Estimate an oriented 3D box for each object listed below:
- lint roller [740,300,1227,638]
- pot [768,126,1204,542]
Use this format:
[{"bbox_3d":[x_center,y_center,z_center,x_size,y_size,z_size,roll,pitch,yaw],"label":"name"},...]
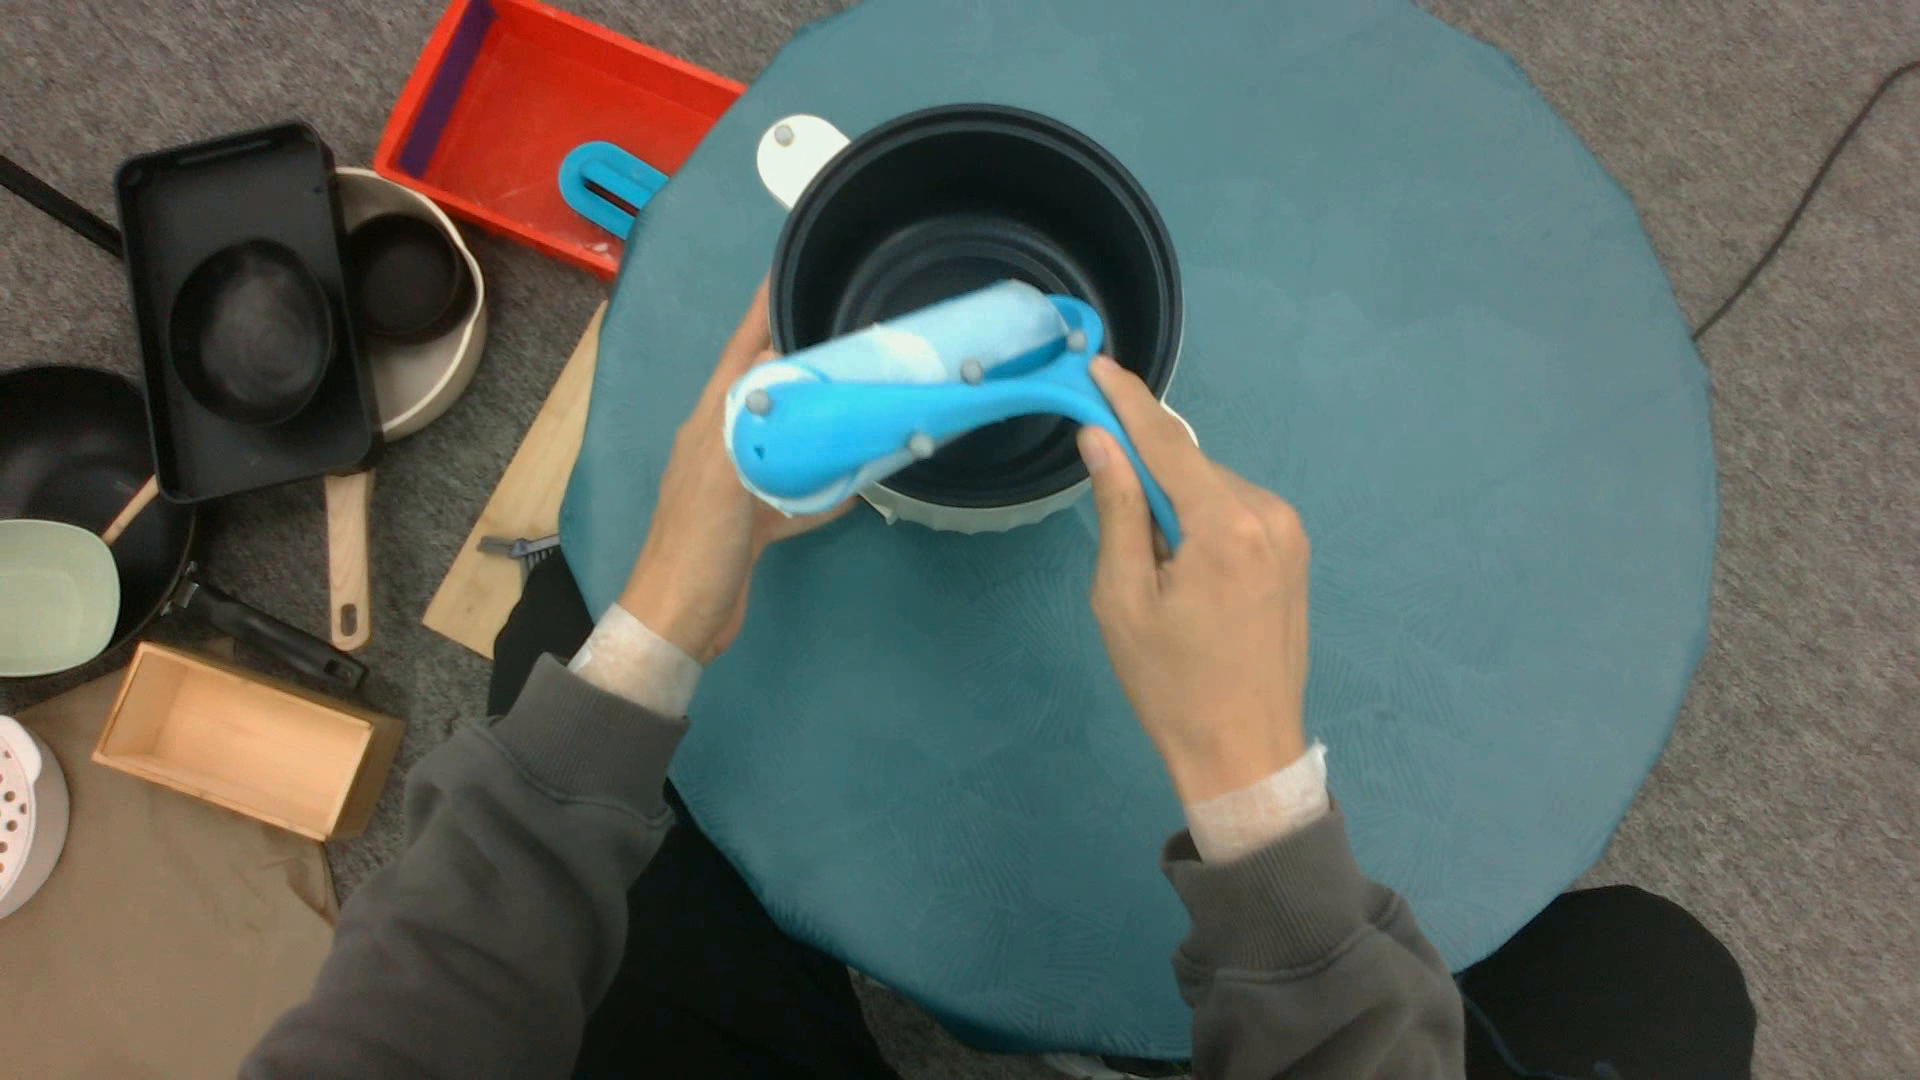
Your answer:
[{"bbox_3d":[0.037,-0.032,0.552,0.180,0.230,0.067,28,116,13],"label":"lint roller"},{"bbox_3d":[0.013,-0.095,0.677,0.240,0.142,0.190,40,86,4],"label":"pot"}]
